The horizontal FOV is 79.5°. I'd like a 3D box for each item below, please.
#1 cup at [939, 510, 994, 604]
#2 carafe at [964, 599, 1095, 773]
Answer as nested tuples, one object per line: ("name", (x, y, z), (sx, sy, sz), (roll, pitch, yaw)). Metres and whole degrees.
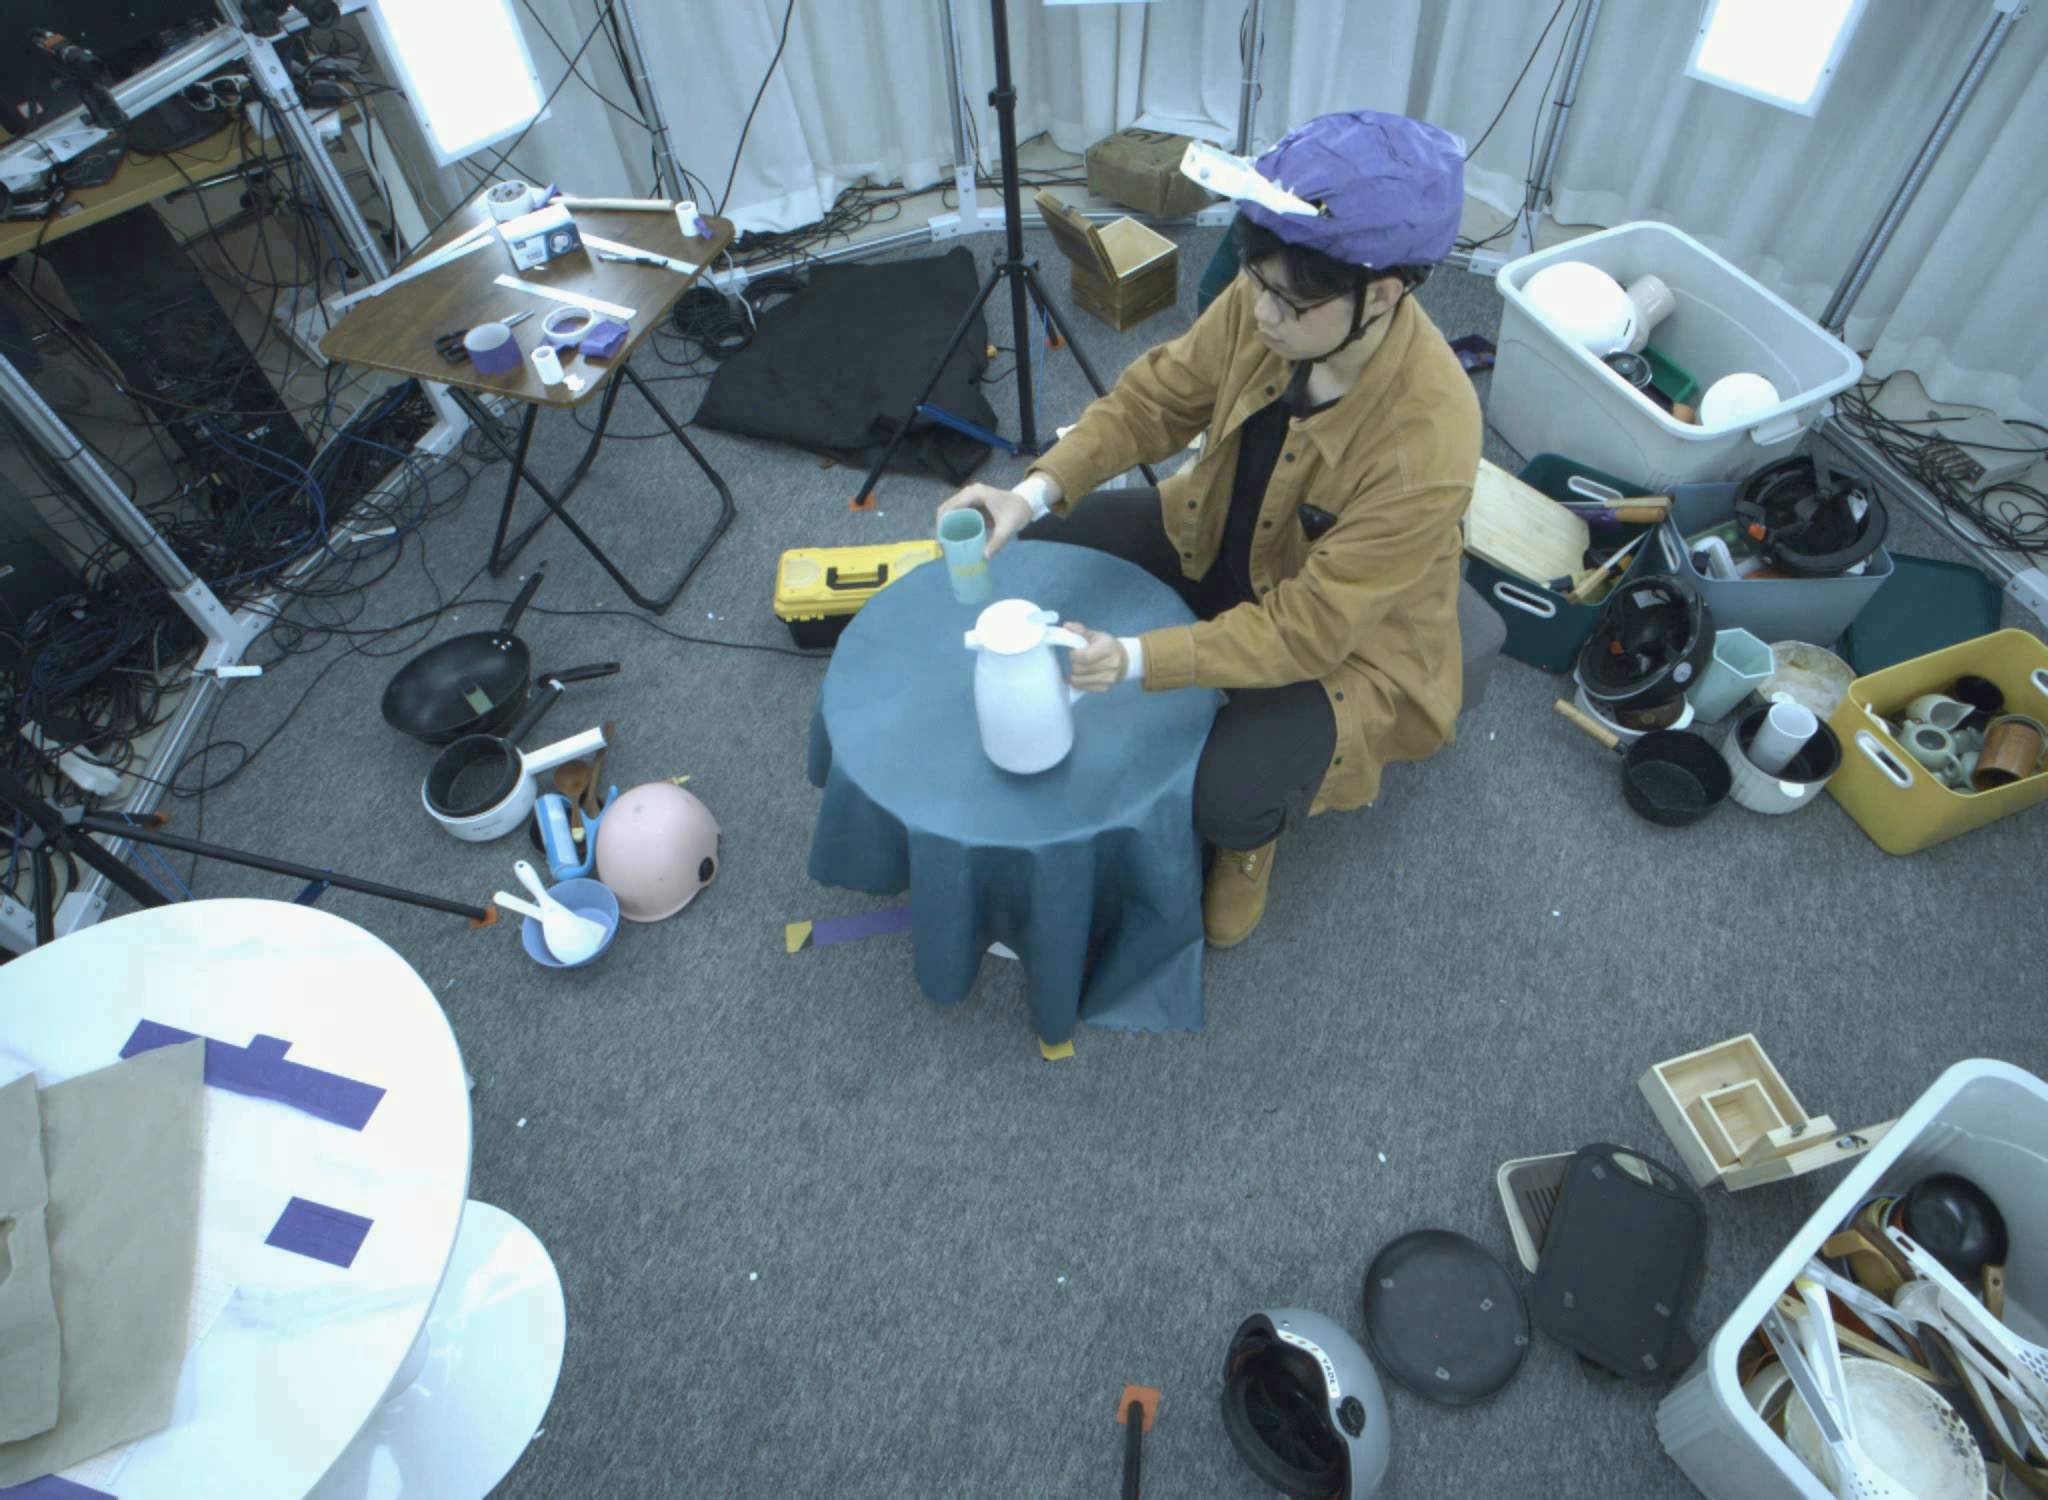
("cup", (-0.081, -0.273, 1.730), (0.066, 0.134, 0.066), (-2, 57, 5))
("carafe", (0.013, -0.095, 1.654), (0.168, 0.251, 0.131), (-7, 55, 0))
